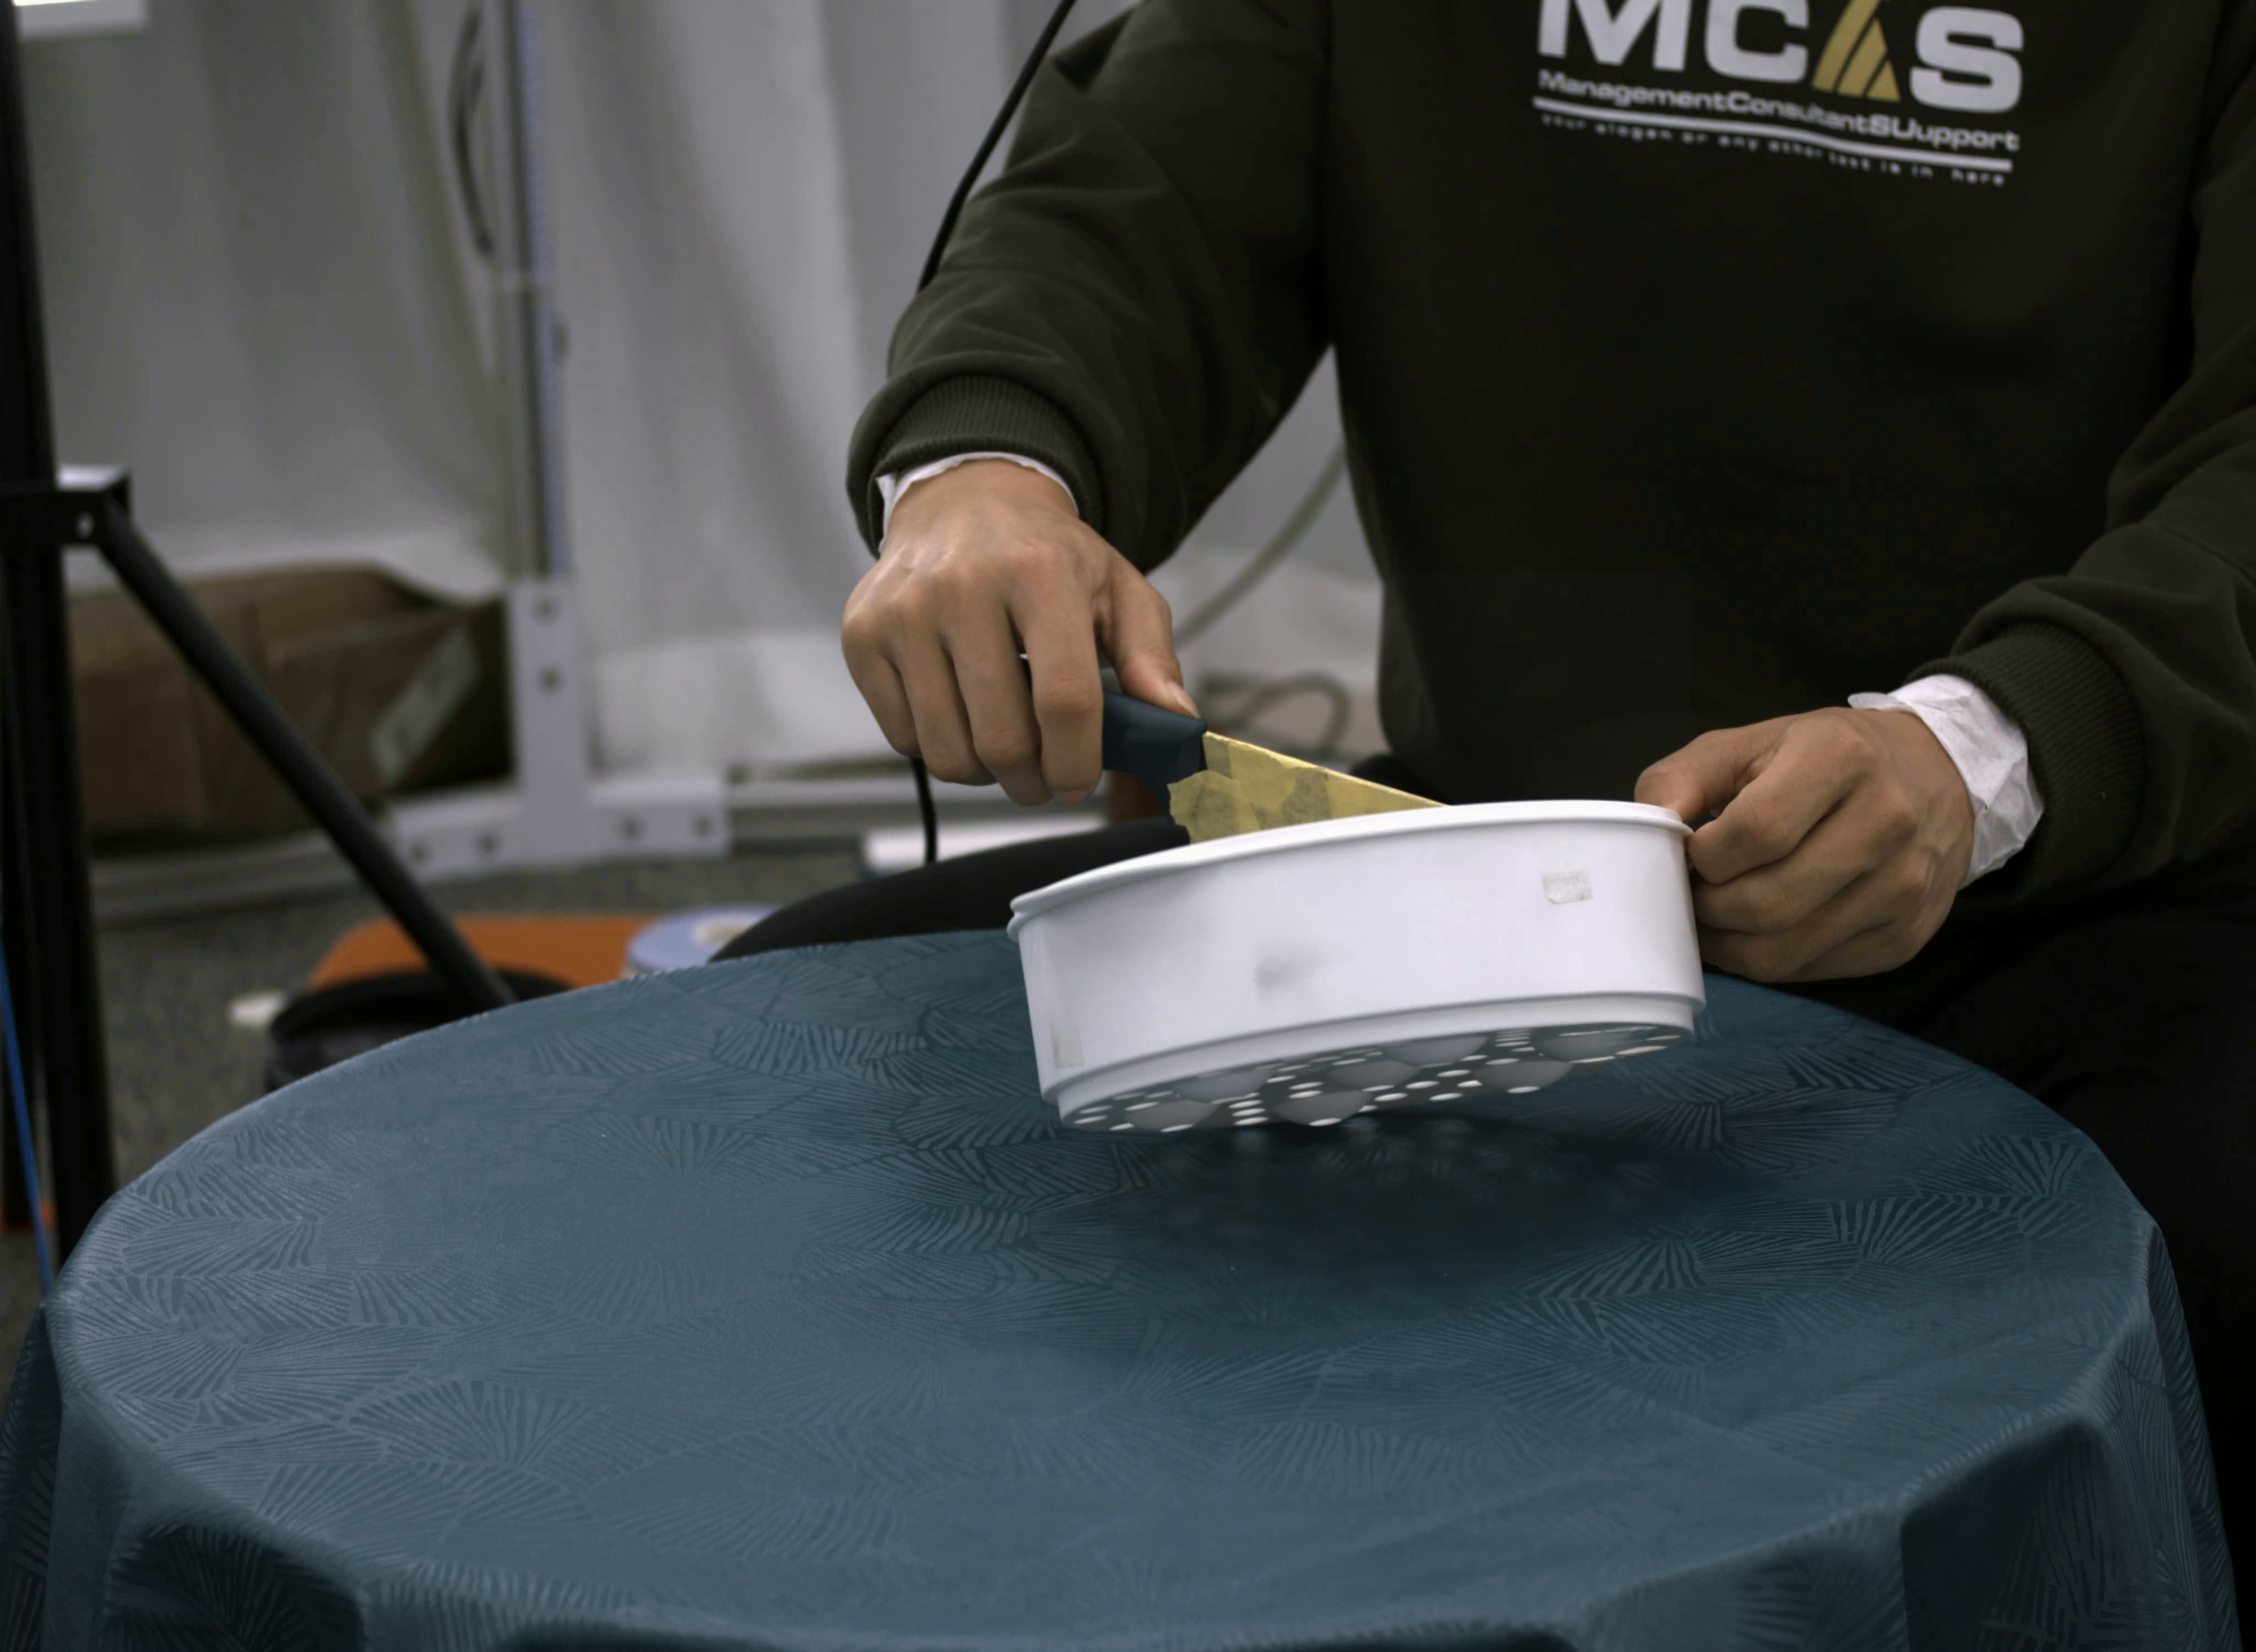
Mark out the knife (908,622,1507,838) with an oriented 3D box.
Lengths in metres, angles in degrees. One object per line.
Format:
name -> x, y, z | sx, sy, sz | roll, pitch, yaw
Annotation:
knife -> 0.039, -0.001, 1.594 | 0.027, 0.080, 0.296 | -28, 39, -36

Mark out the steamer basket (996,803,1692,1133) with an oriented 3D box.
steamer basket -> 0.064, 0.045, 1.531 | 0.224, 0.070, 0.205 | 4, -13, -41
